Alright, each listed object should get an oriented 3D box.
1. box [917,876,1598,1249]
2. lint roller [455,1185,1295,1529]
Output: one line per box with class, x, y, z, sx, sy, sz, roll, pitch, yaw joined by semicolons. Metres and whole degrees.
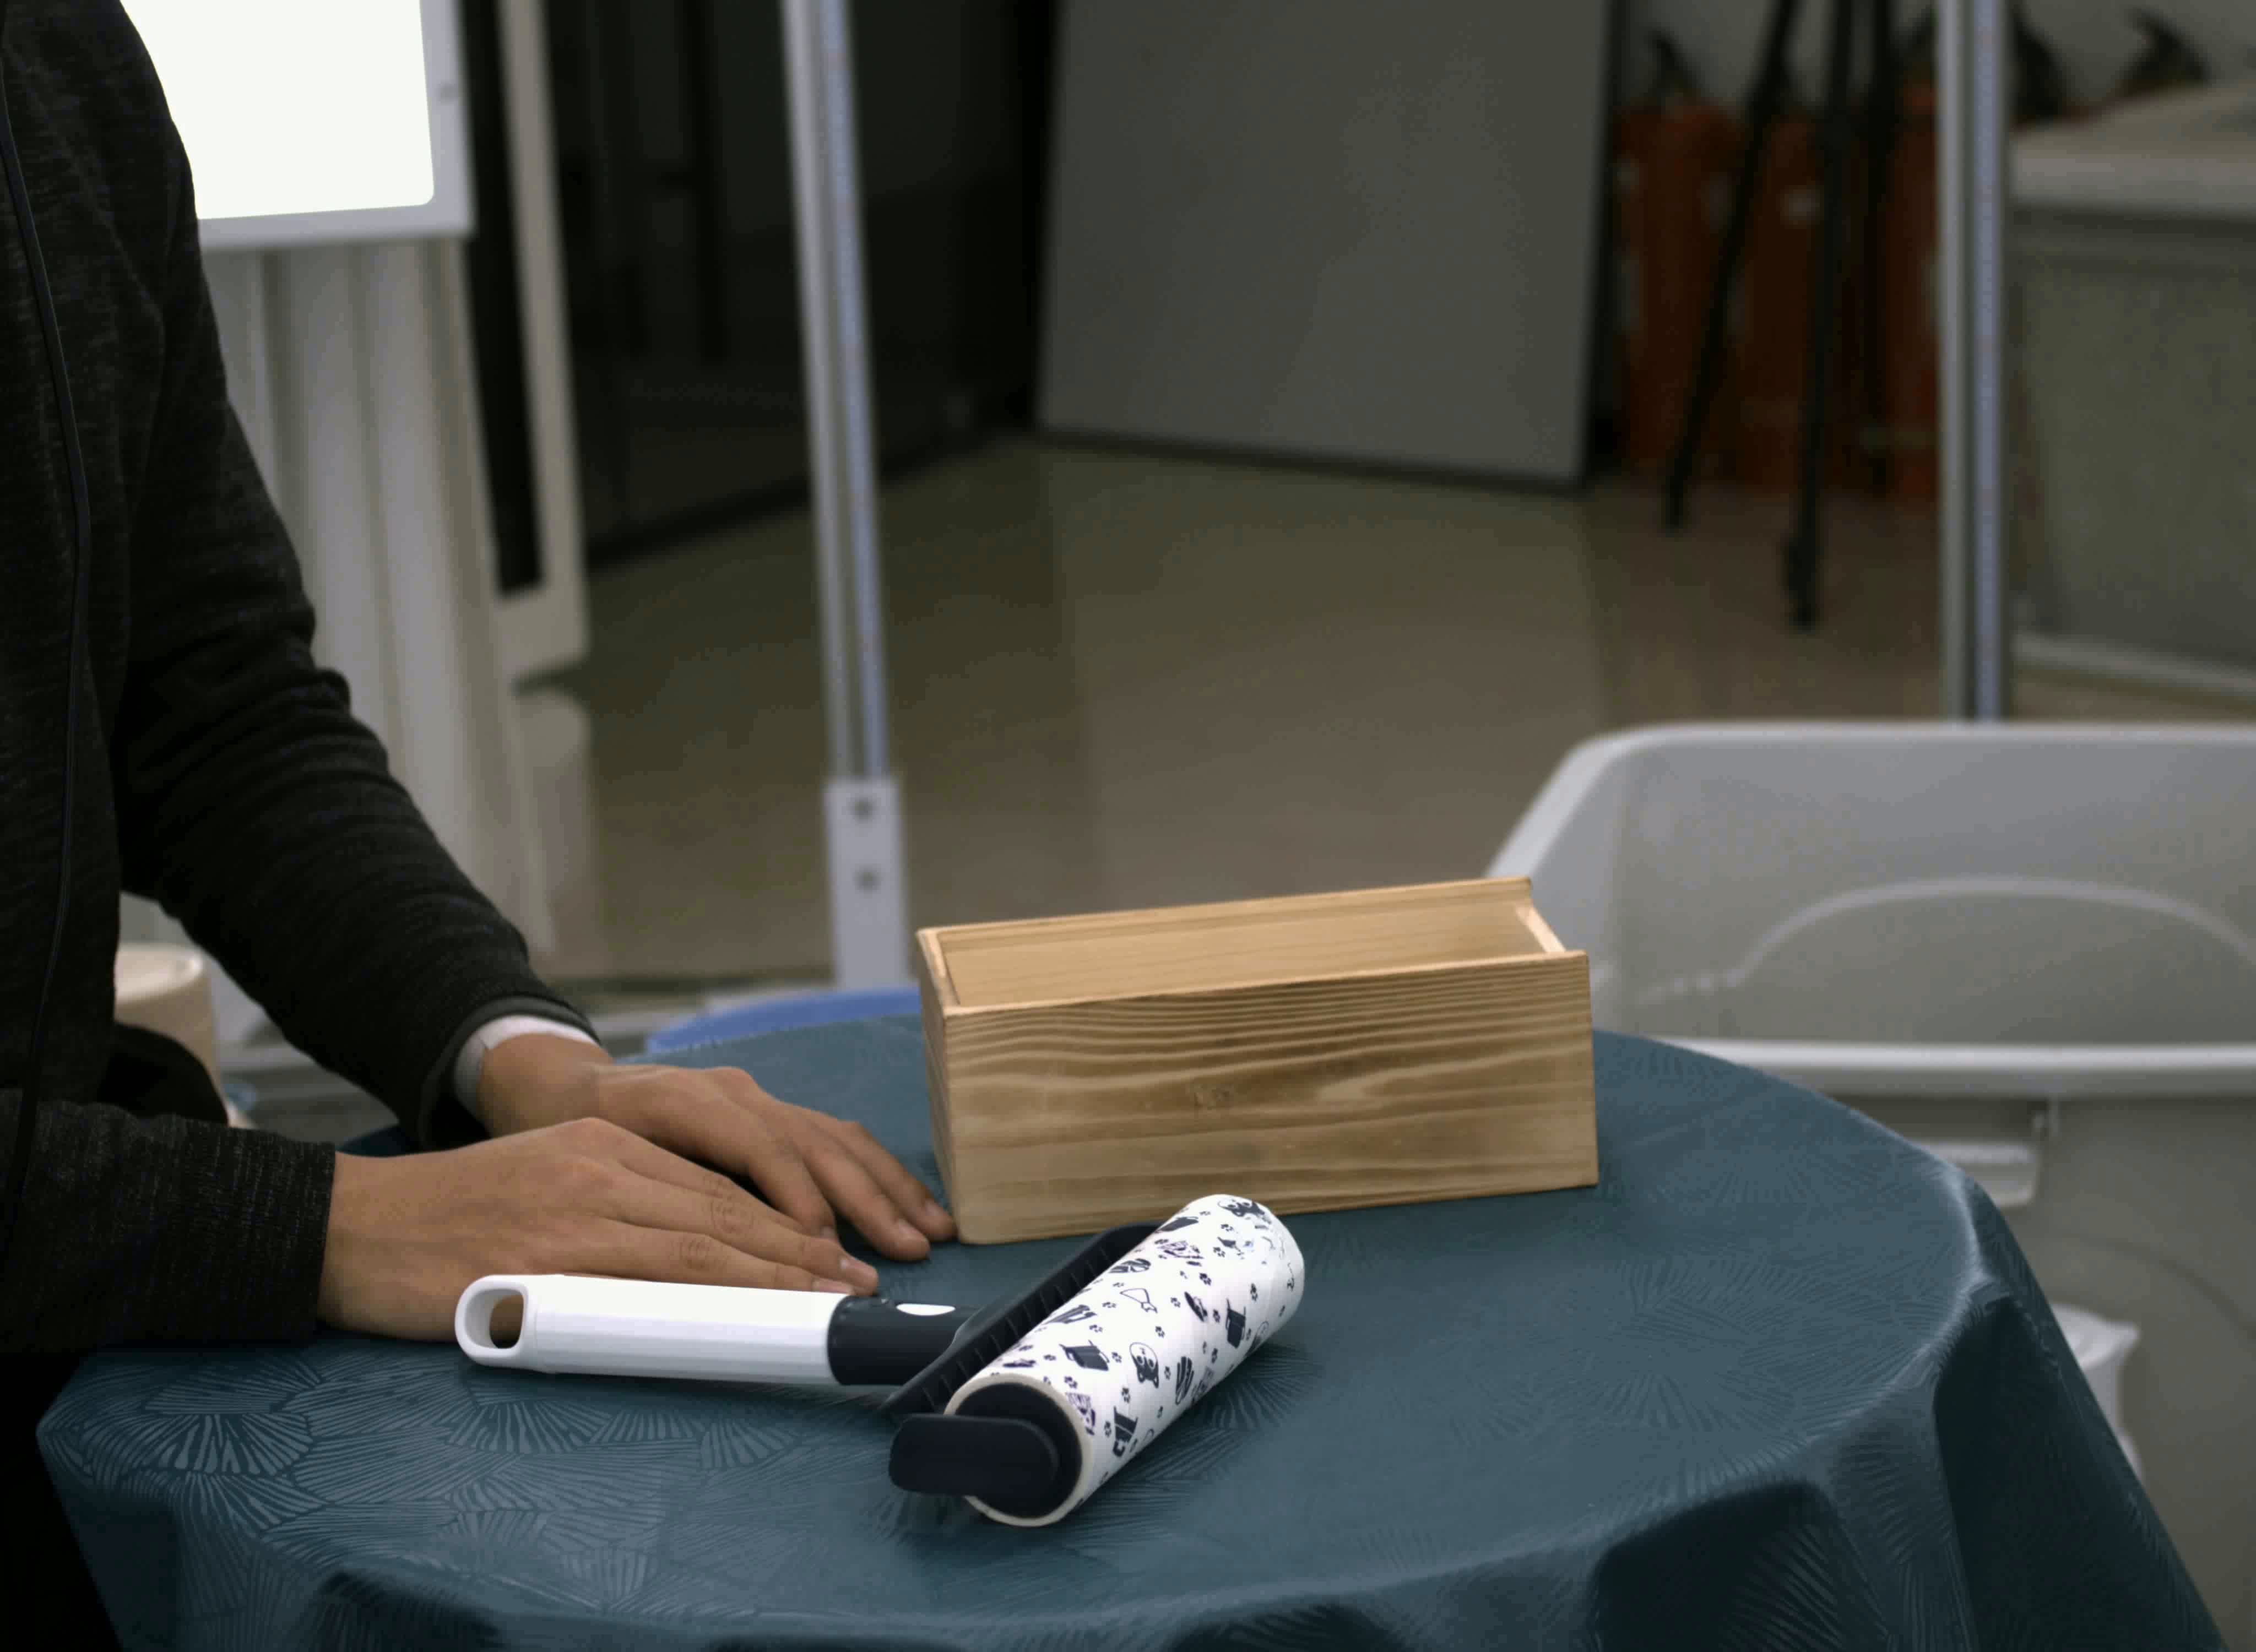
box;0.041;0.076;1.773;0.208;0.081;0.108;-6;13;-5
lint roller;-0.092;0.150;1.590;0.247;0.051;0.174;1;15;25
